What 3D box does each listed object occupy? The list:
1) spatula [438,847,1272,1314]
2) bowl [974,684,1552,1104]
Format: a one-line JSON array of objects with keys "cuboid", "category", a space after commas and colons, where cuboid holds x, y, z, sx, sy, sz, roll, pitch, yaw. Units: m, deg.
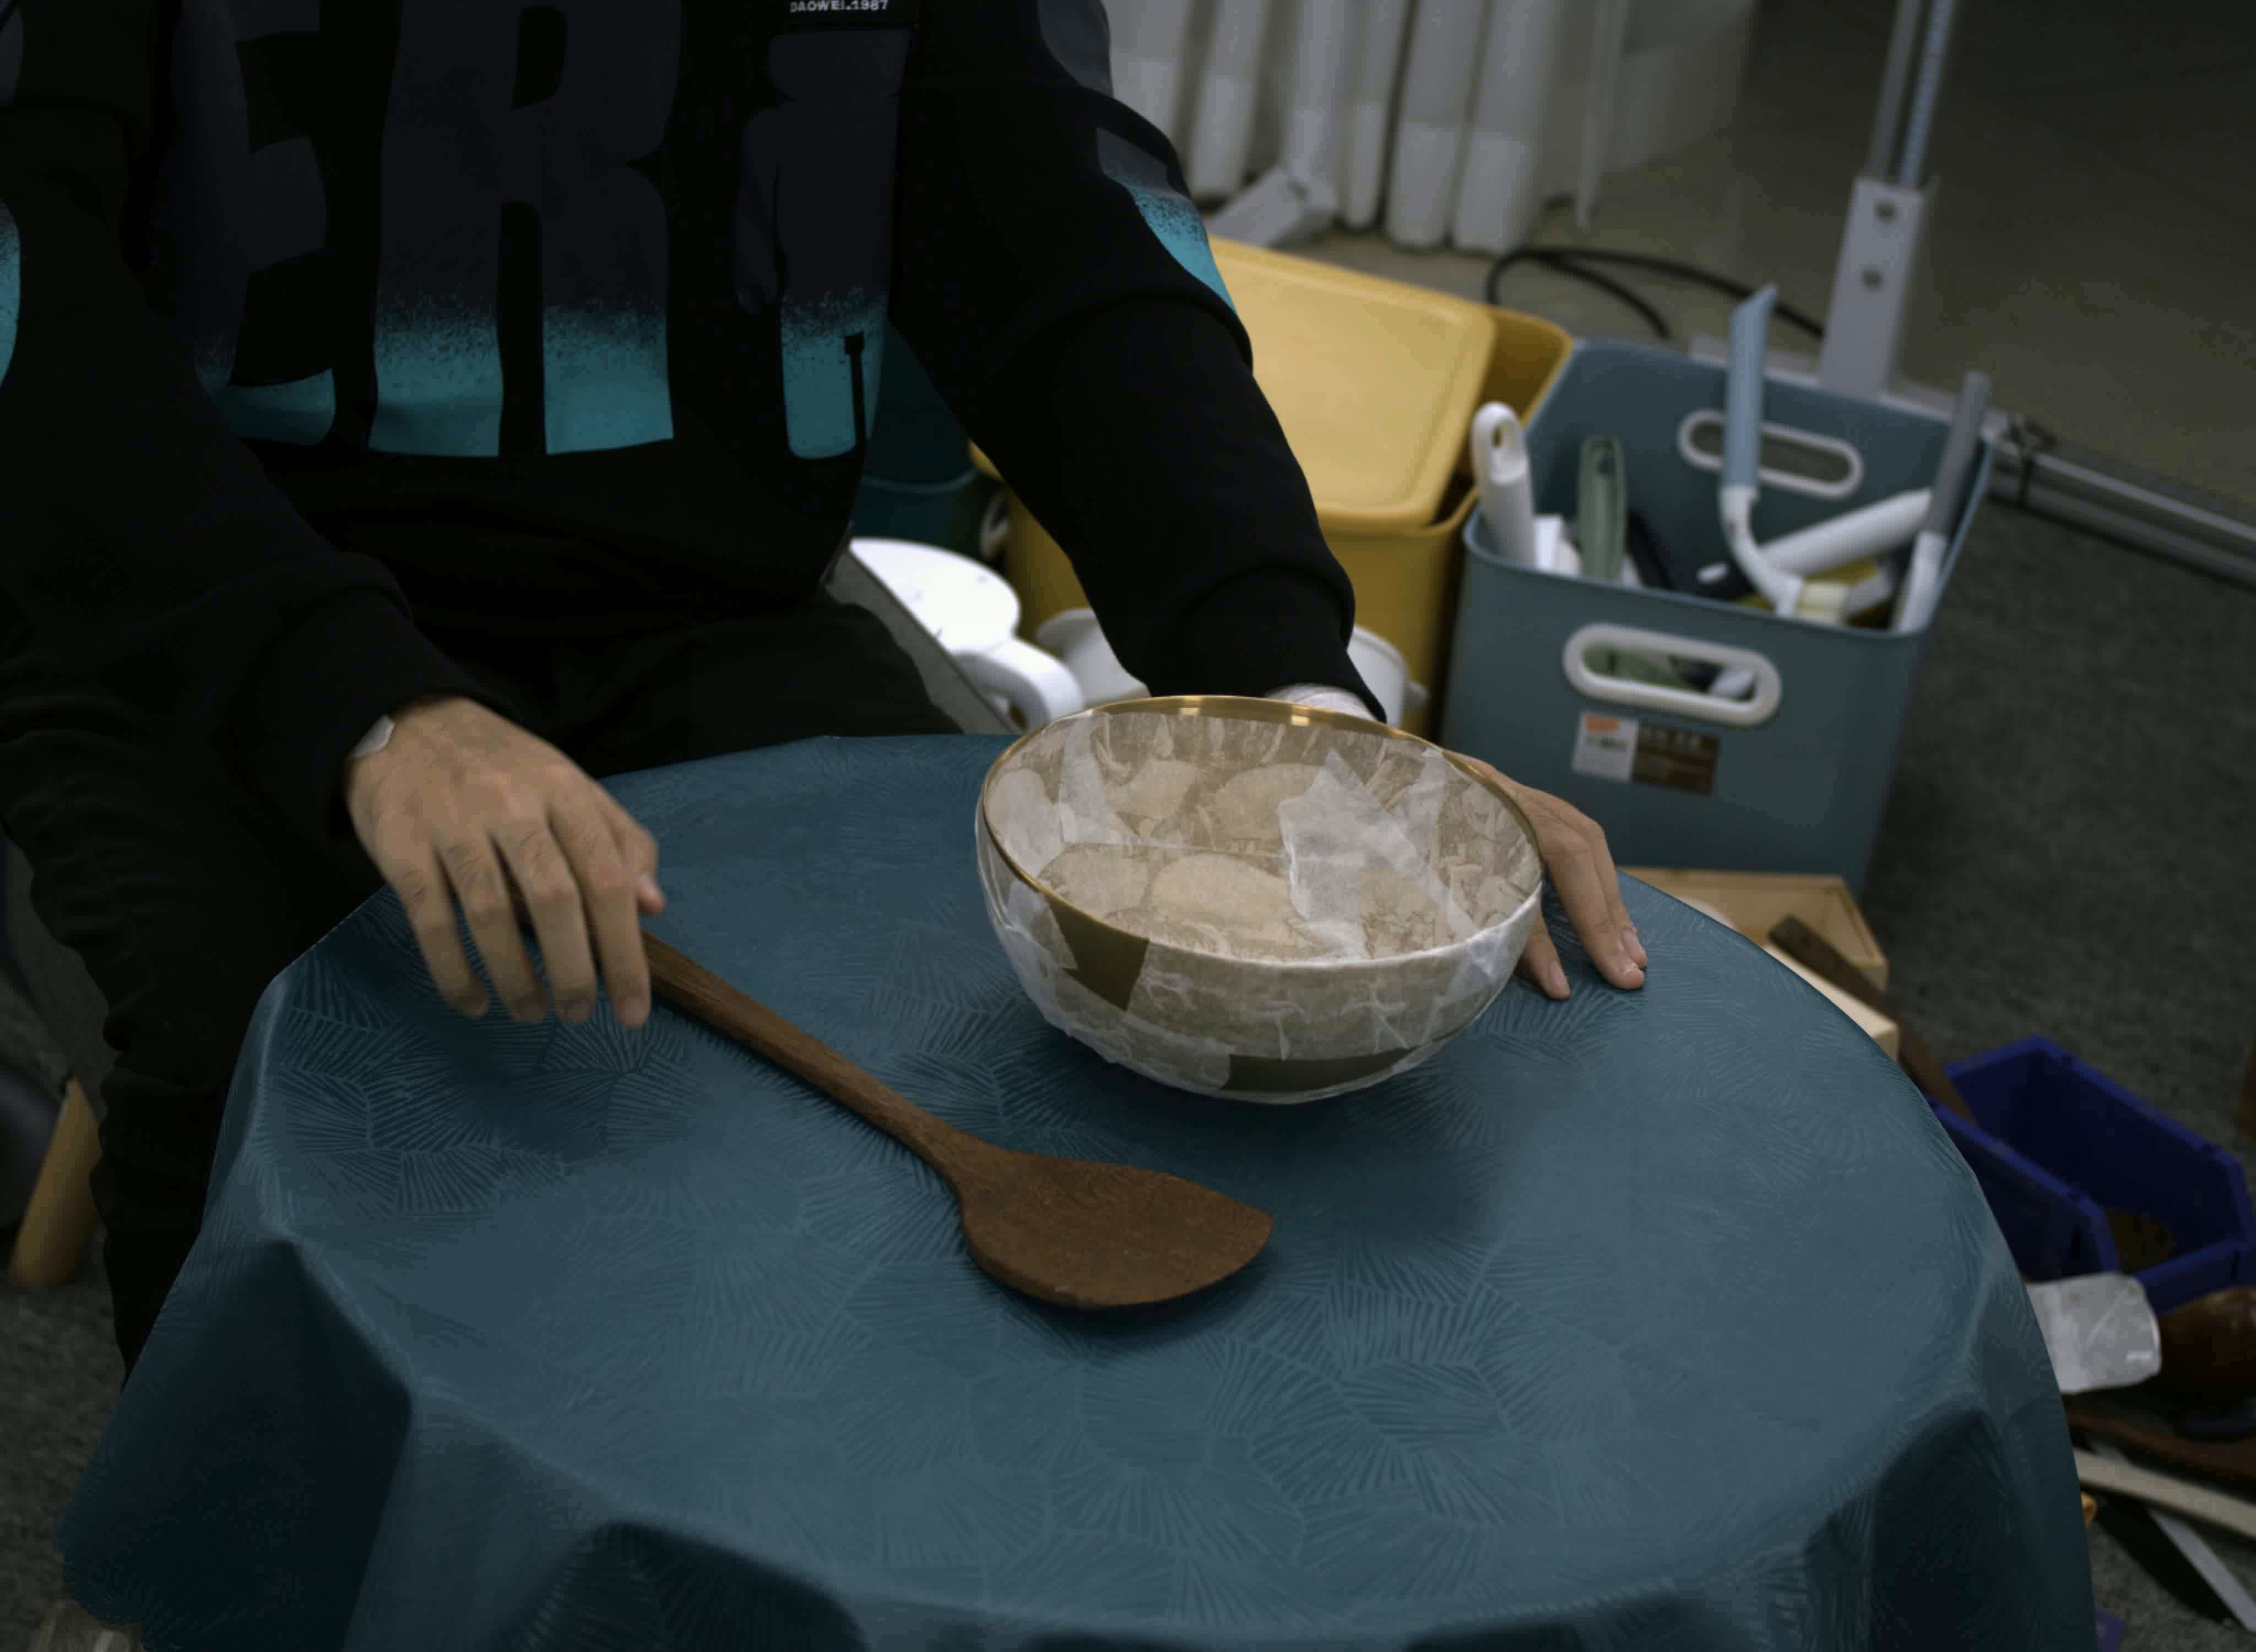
[{"cuboid": [-0.112, 0.080, 1.845, 0.389, 0.016, 0.095, 28, 33, 36], "category": "spatula"}, {"cuboid": [0.045, 0.036, 1.879, 0.214, 0.094, 0.216, 4, 27, -2], "category": "bowl"}]
